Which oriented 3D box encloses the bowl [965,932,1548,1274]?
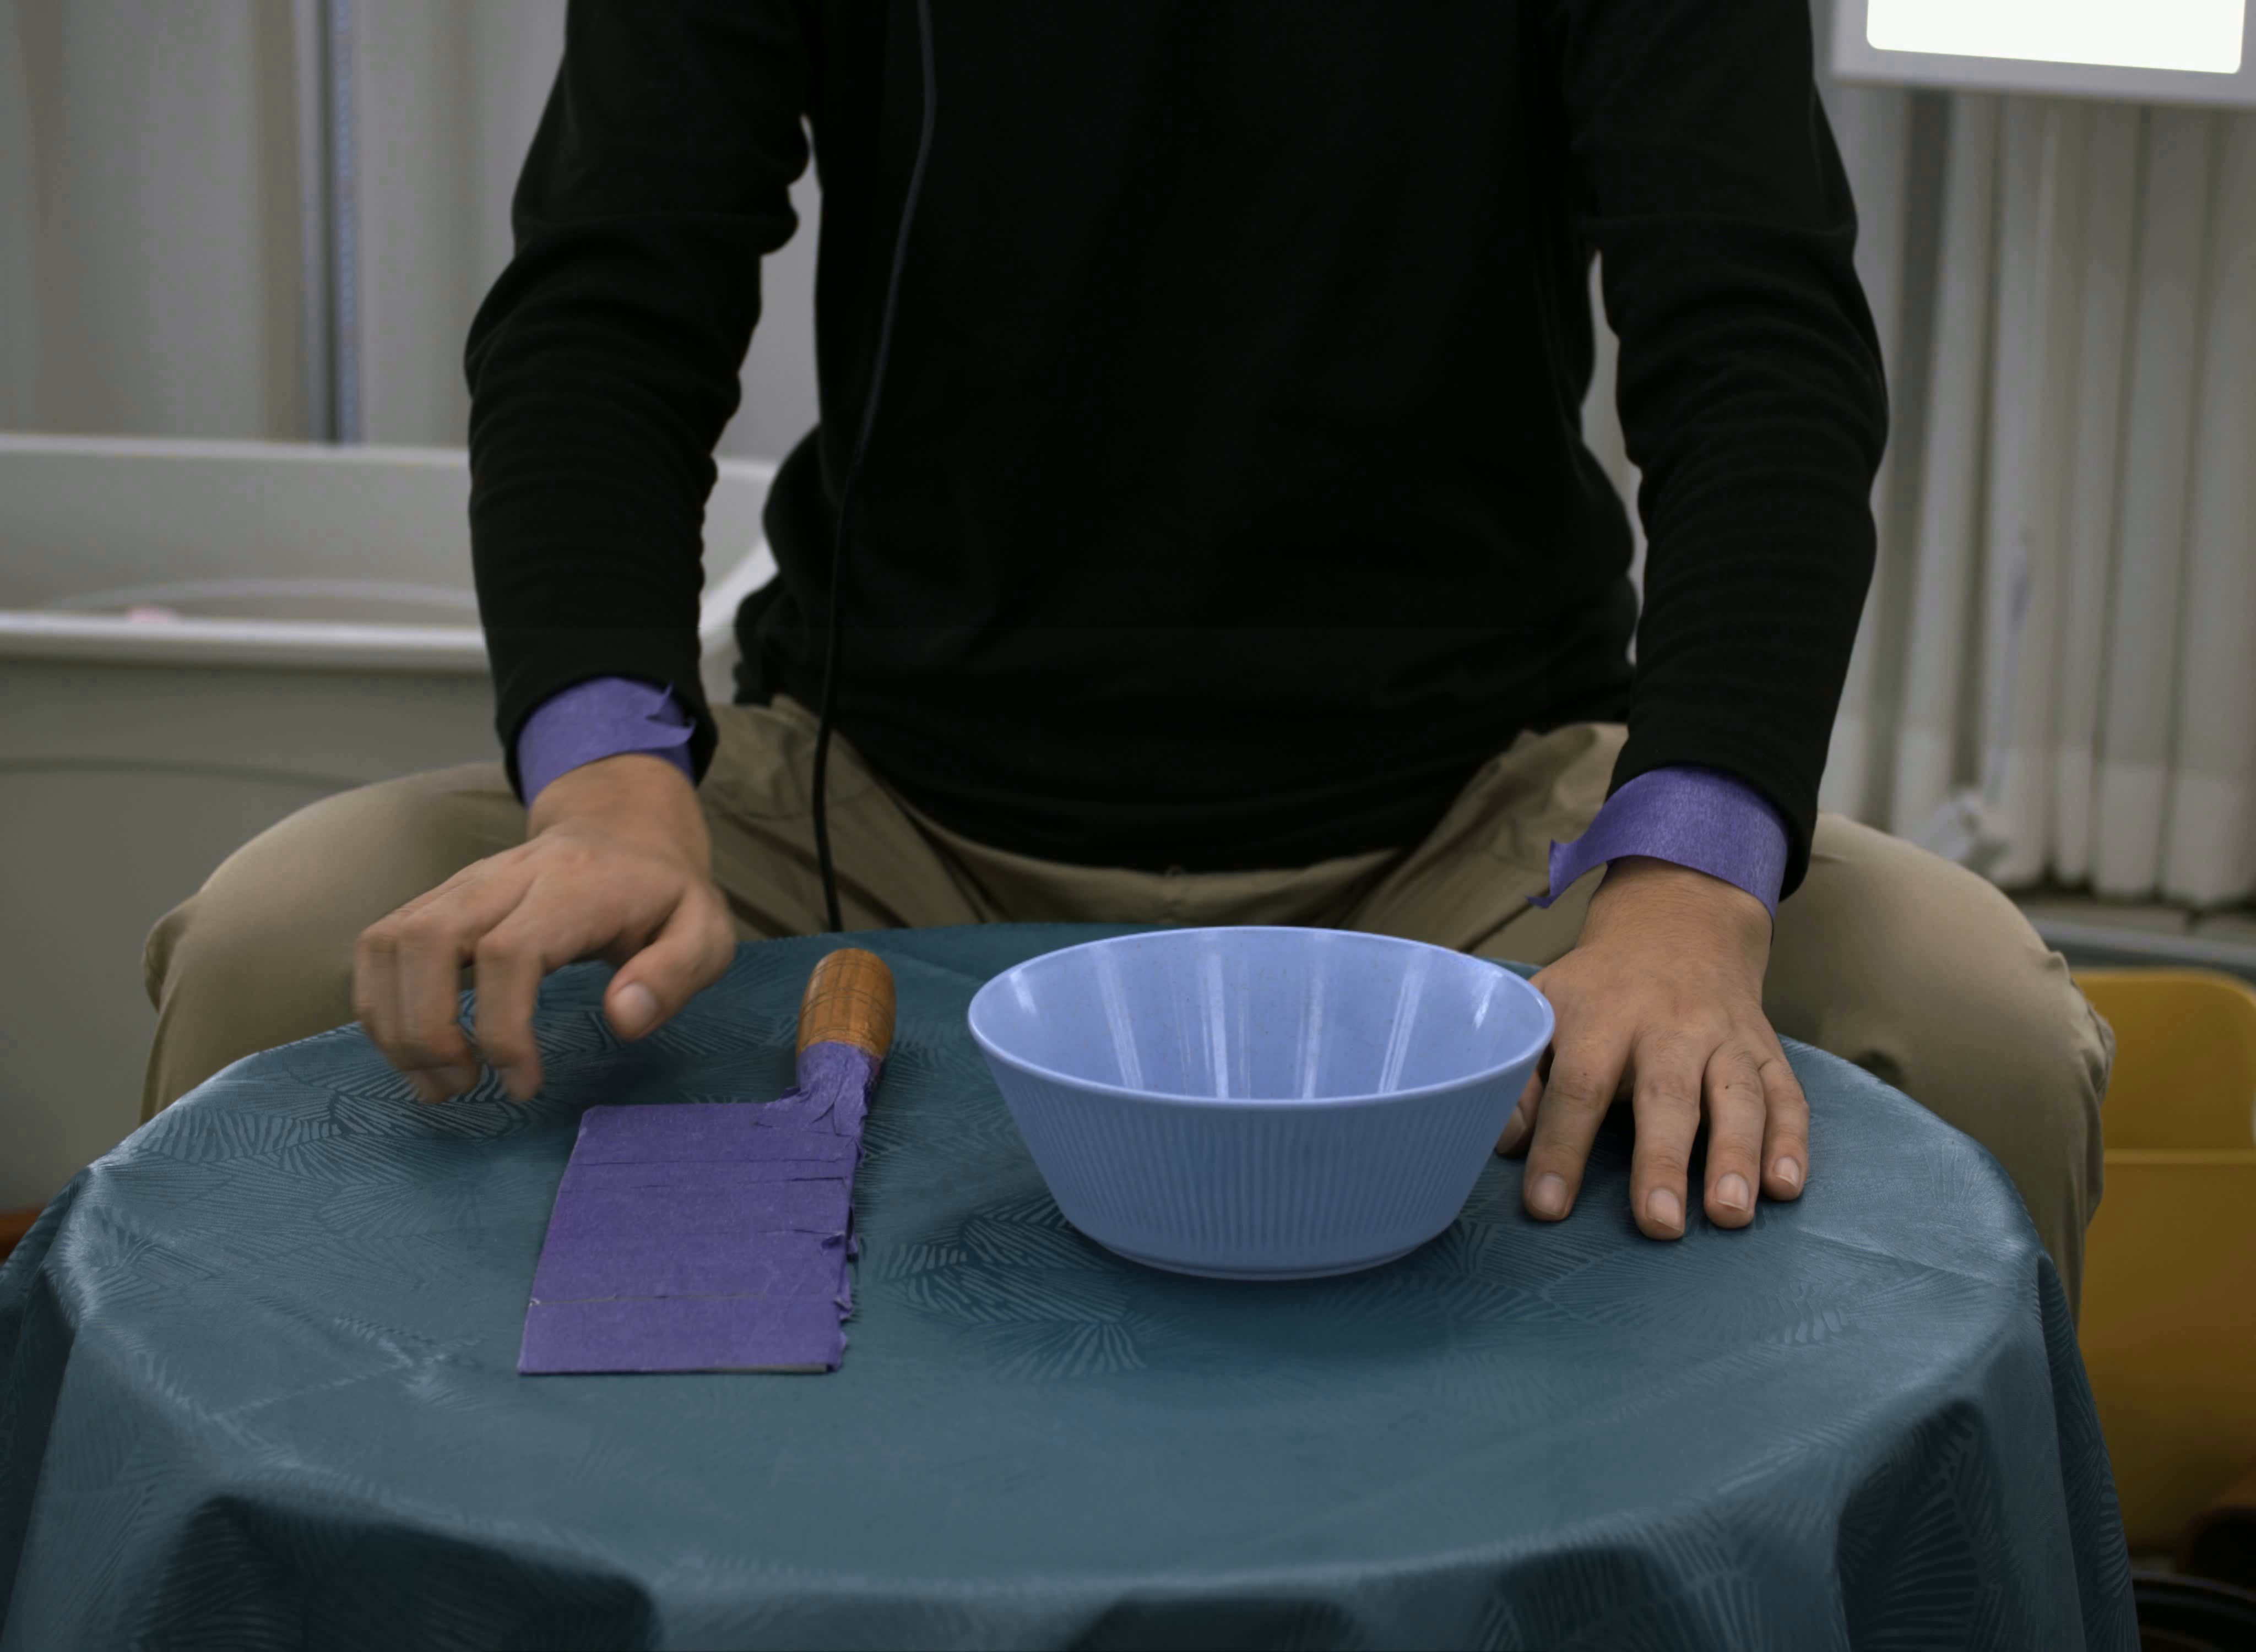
[{"bbox_3d":[0.038,0.085,1.587,0.175,0.071,0.175,1,15,0],"label":"bowl"}]

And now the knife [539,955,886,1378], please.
[{"bbox_3d":[-0.124,0.100,1.613,0.103,0.032,0.313,1,16,-1],"label":"knife"}]
